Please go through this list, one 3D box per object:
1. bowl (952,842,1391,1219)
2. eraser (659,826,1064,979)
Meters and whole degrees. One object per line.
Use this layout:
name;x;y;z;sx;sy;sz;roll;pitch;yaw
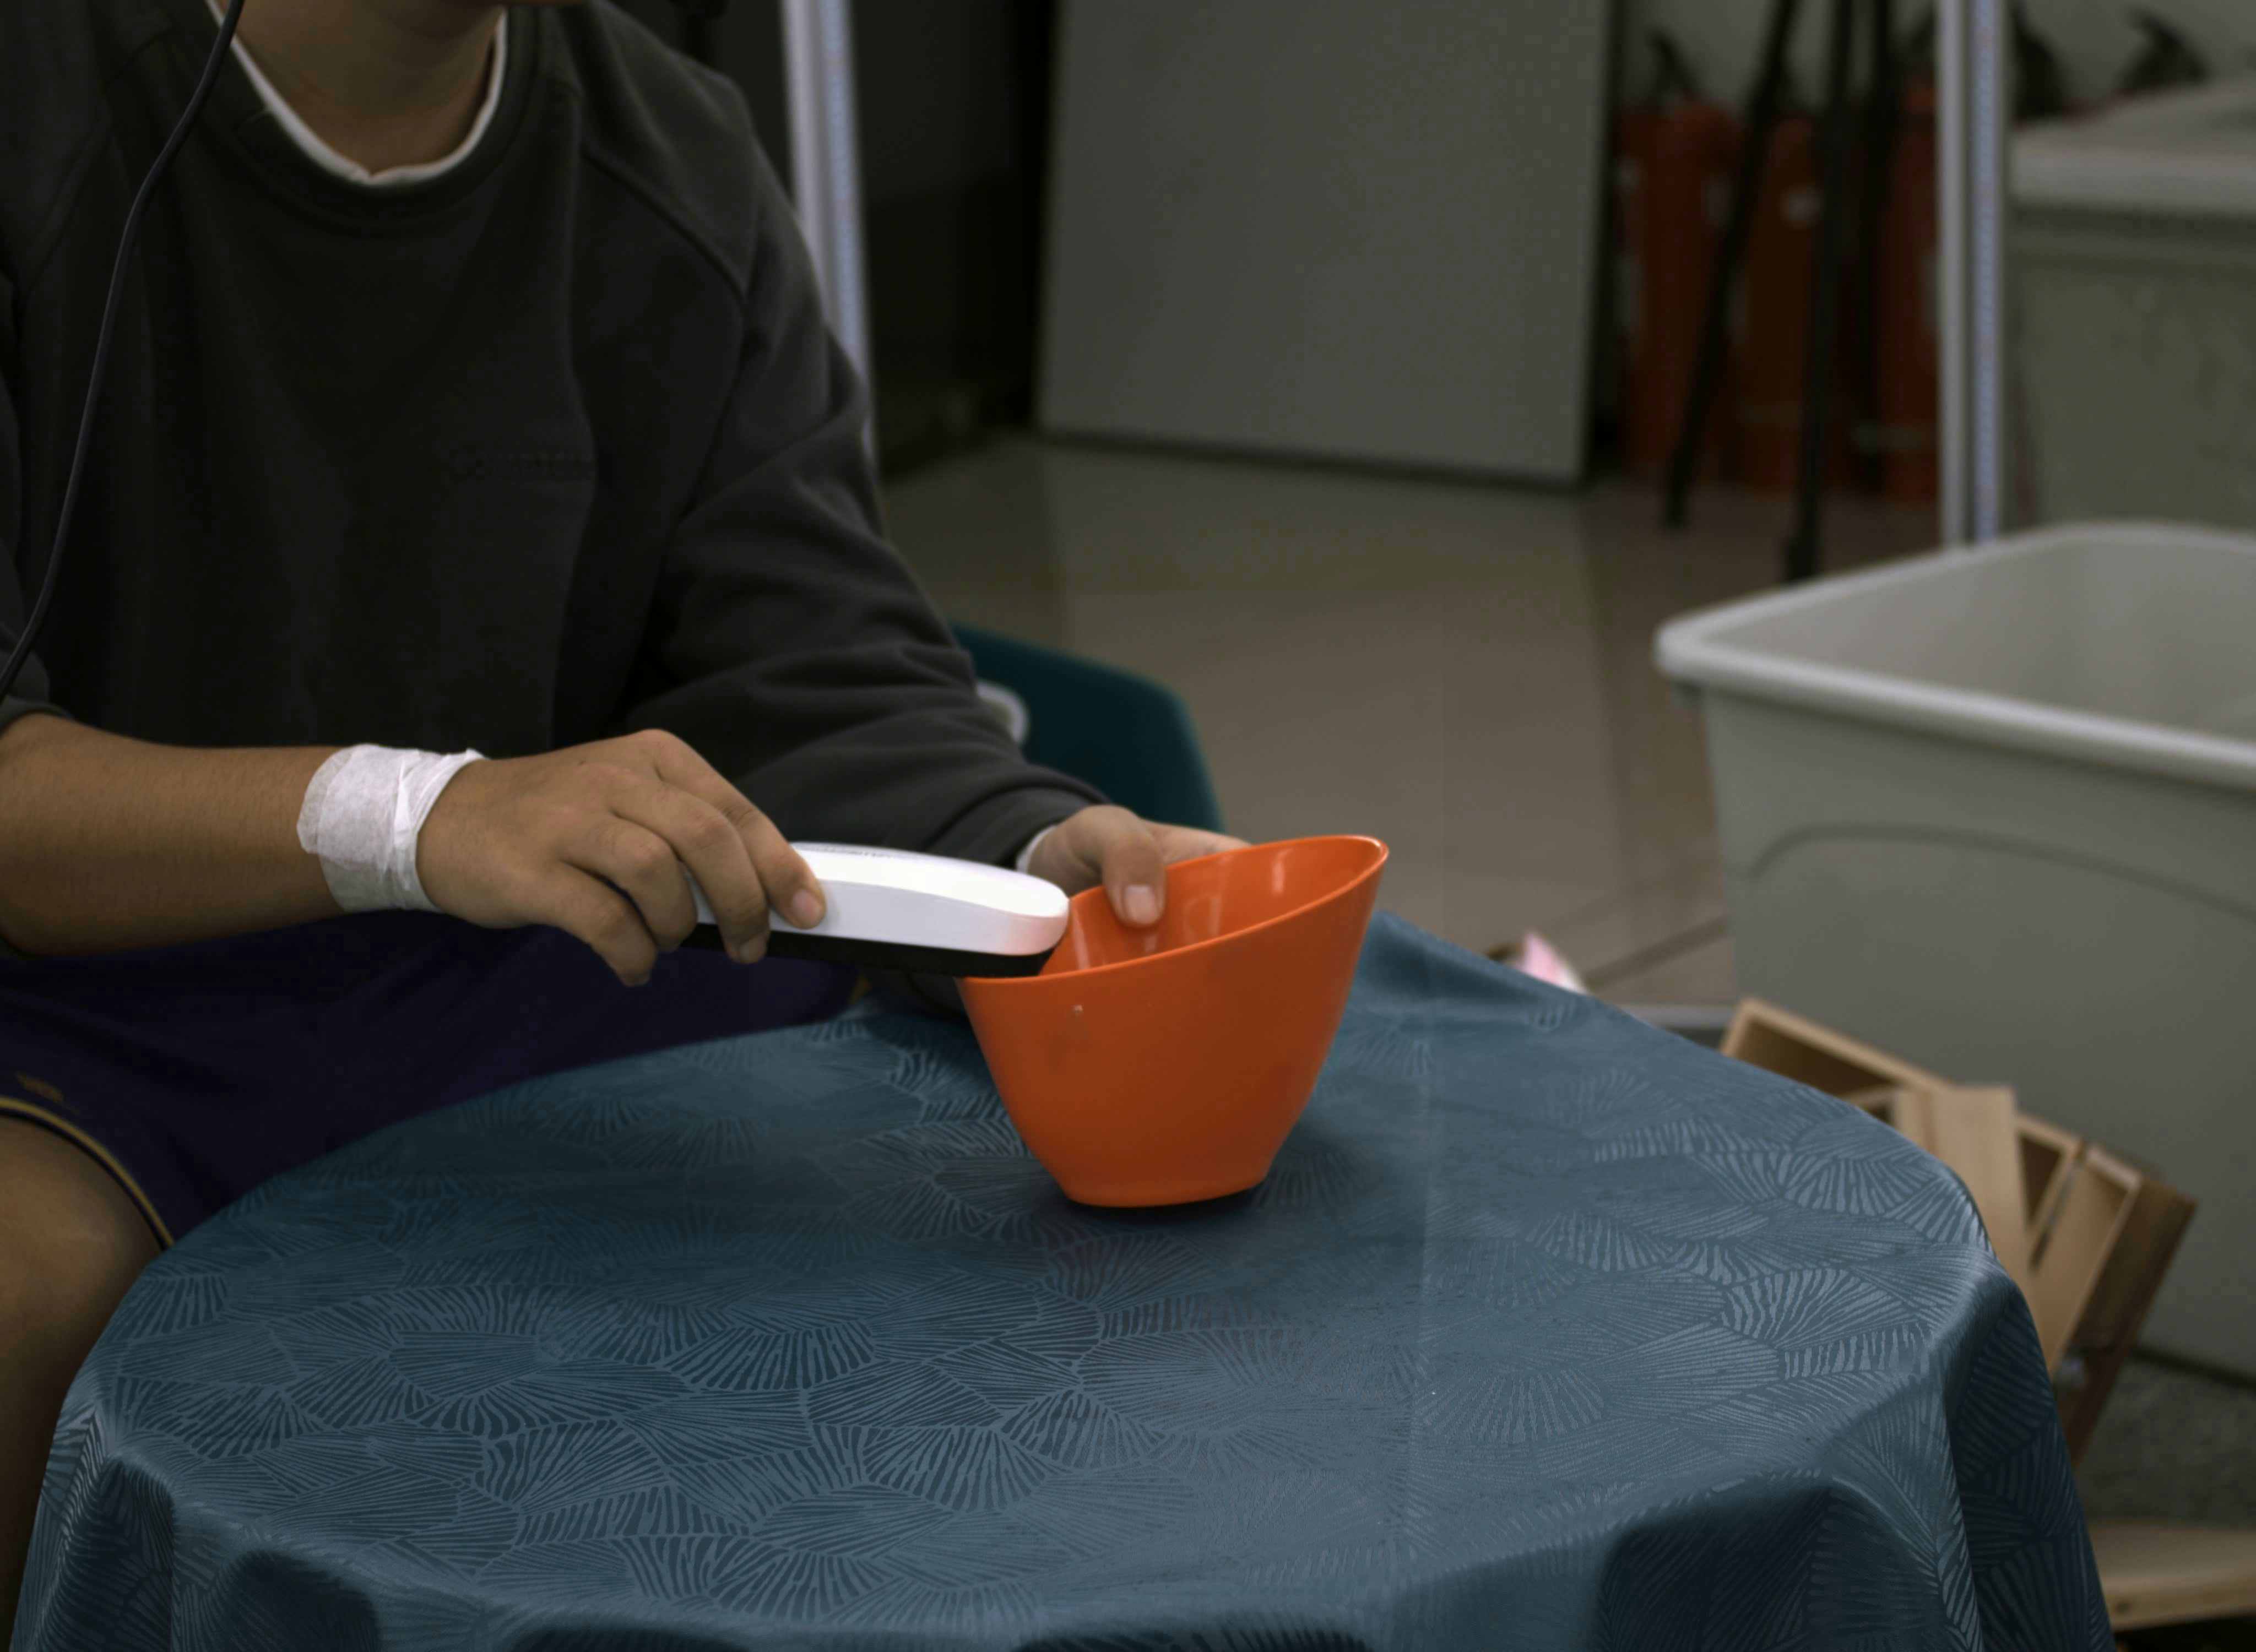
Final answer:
bowl;0.019;0.069;1.754;0.146;0.106;0.148;-7;6;0
eraser;-0.087;0.024;1.762;0.130;0.035;0.063;8;8;8
